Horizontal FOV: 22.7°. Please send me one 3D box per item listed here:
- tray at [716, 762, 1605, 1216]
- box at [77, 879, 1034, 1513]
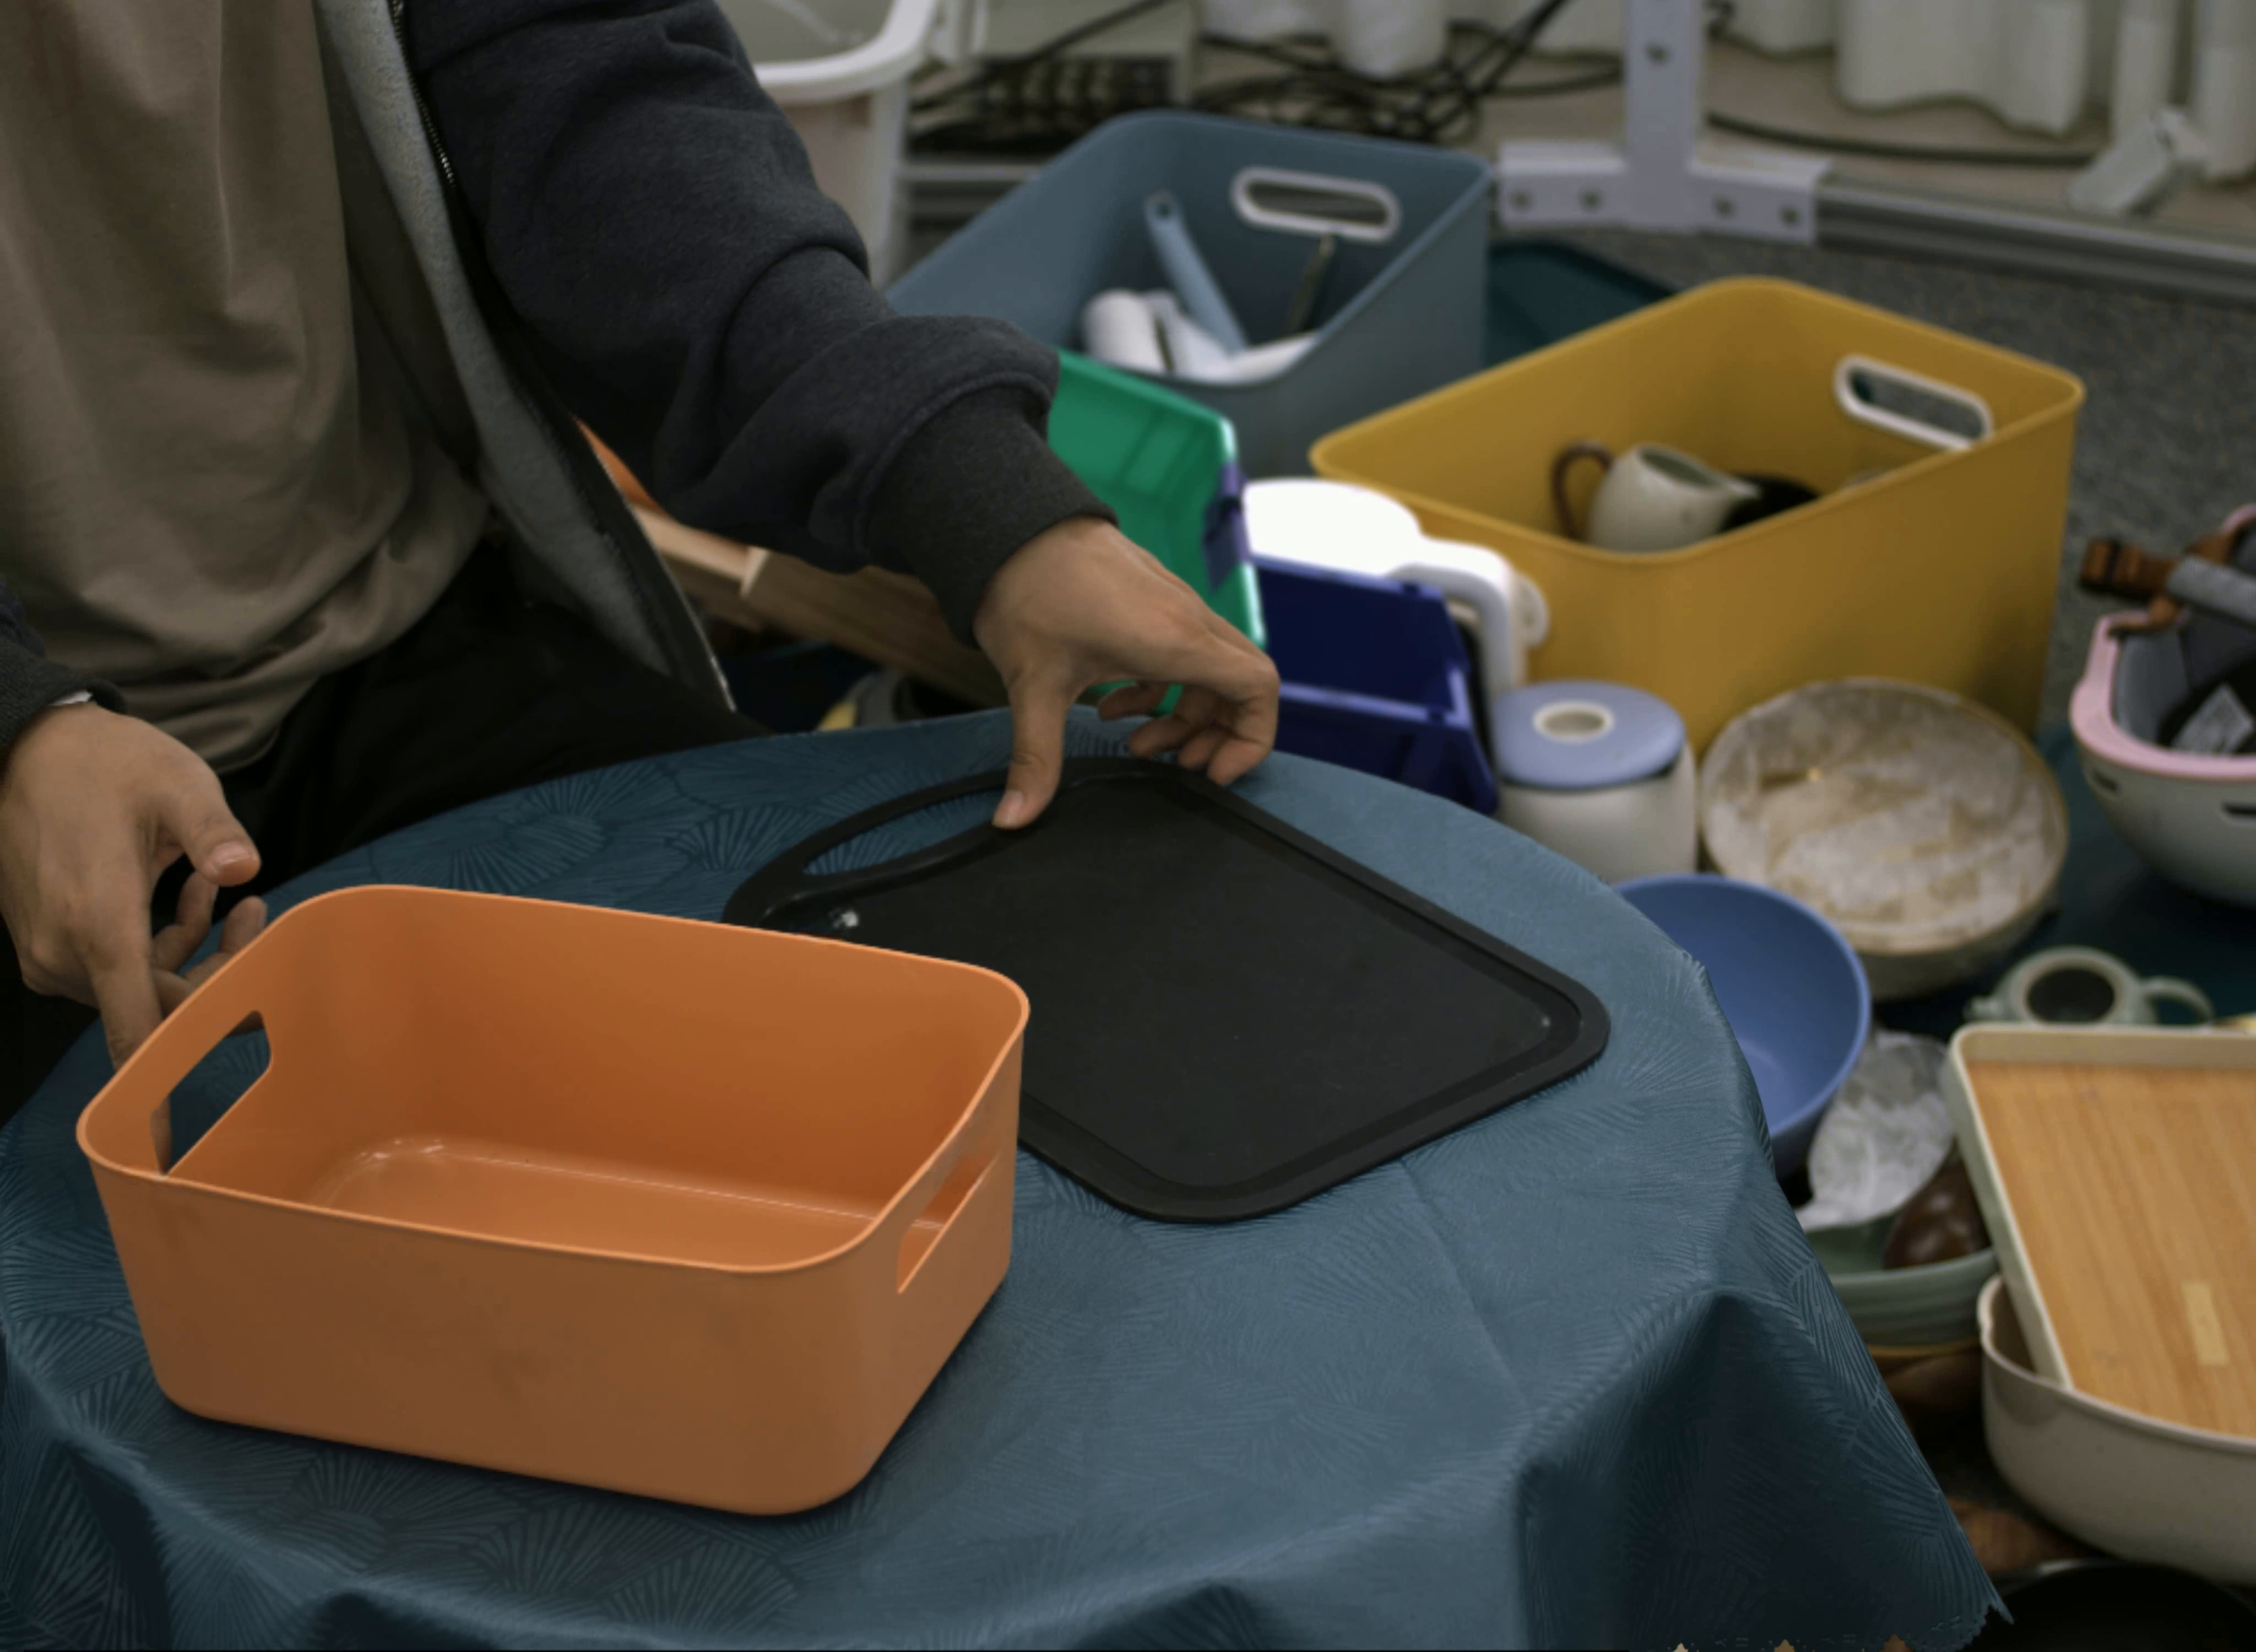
[{"bbox_3d":[0.001,0.049,1.995,0.213,0.009,0.326,-21,33,-32],"label":"tray"},{"bbox_3d":[-0.174,0.117,1.777,0.271,0.101,0.203,7,29,19],"label":"box"}]
